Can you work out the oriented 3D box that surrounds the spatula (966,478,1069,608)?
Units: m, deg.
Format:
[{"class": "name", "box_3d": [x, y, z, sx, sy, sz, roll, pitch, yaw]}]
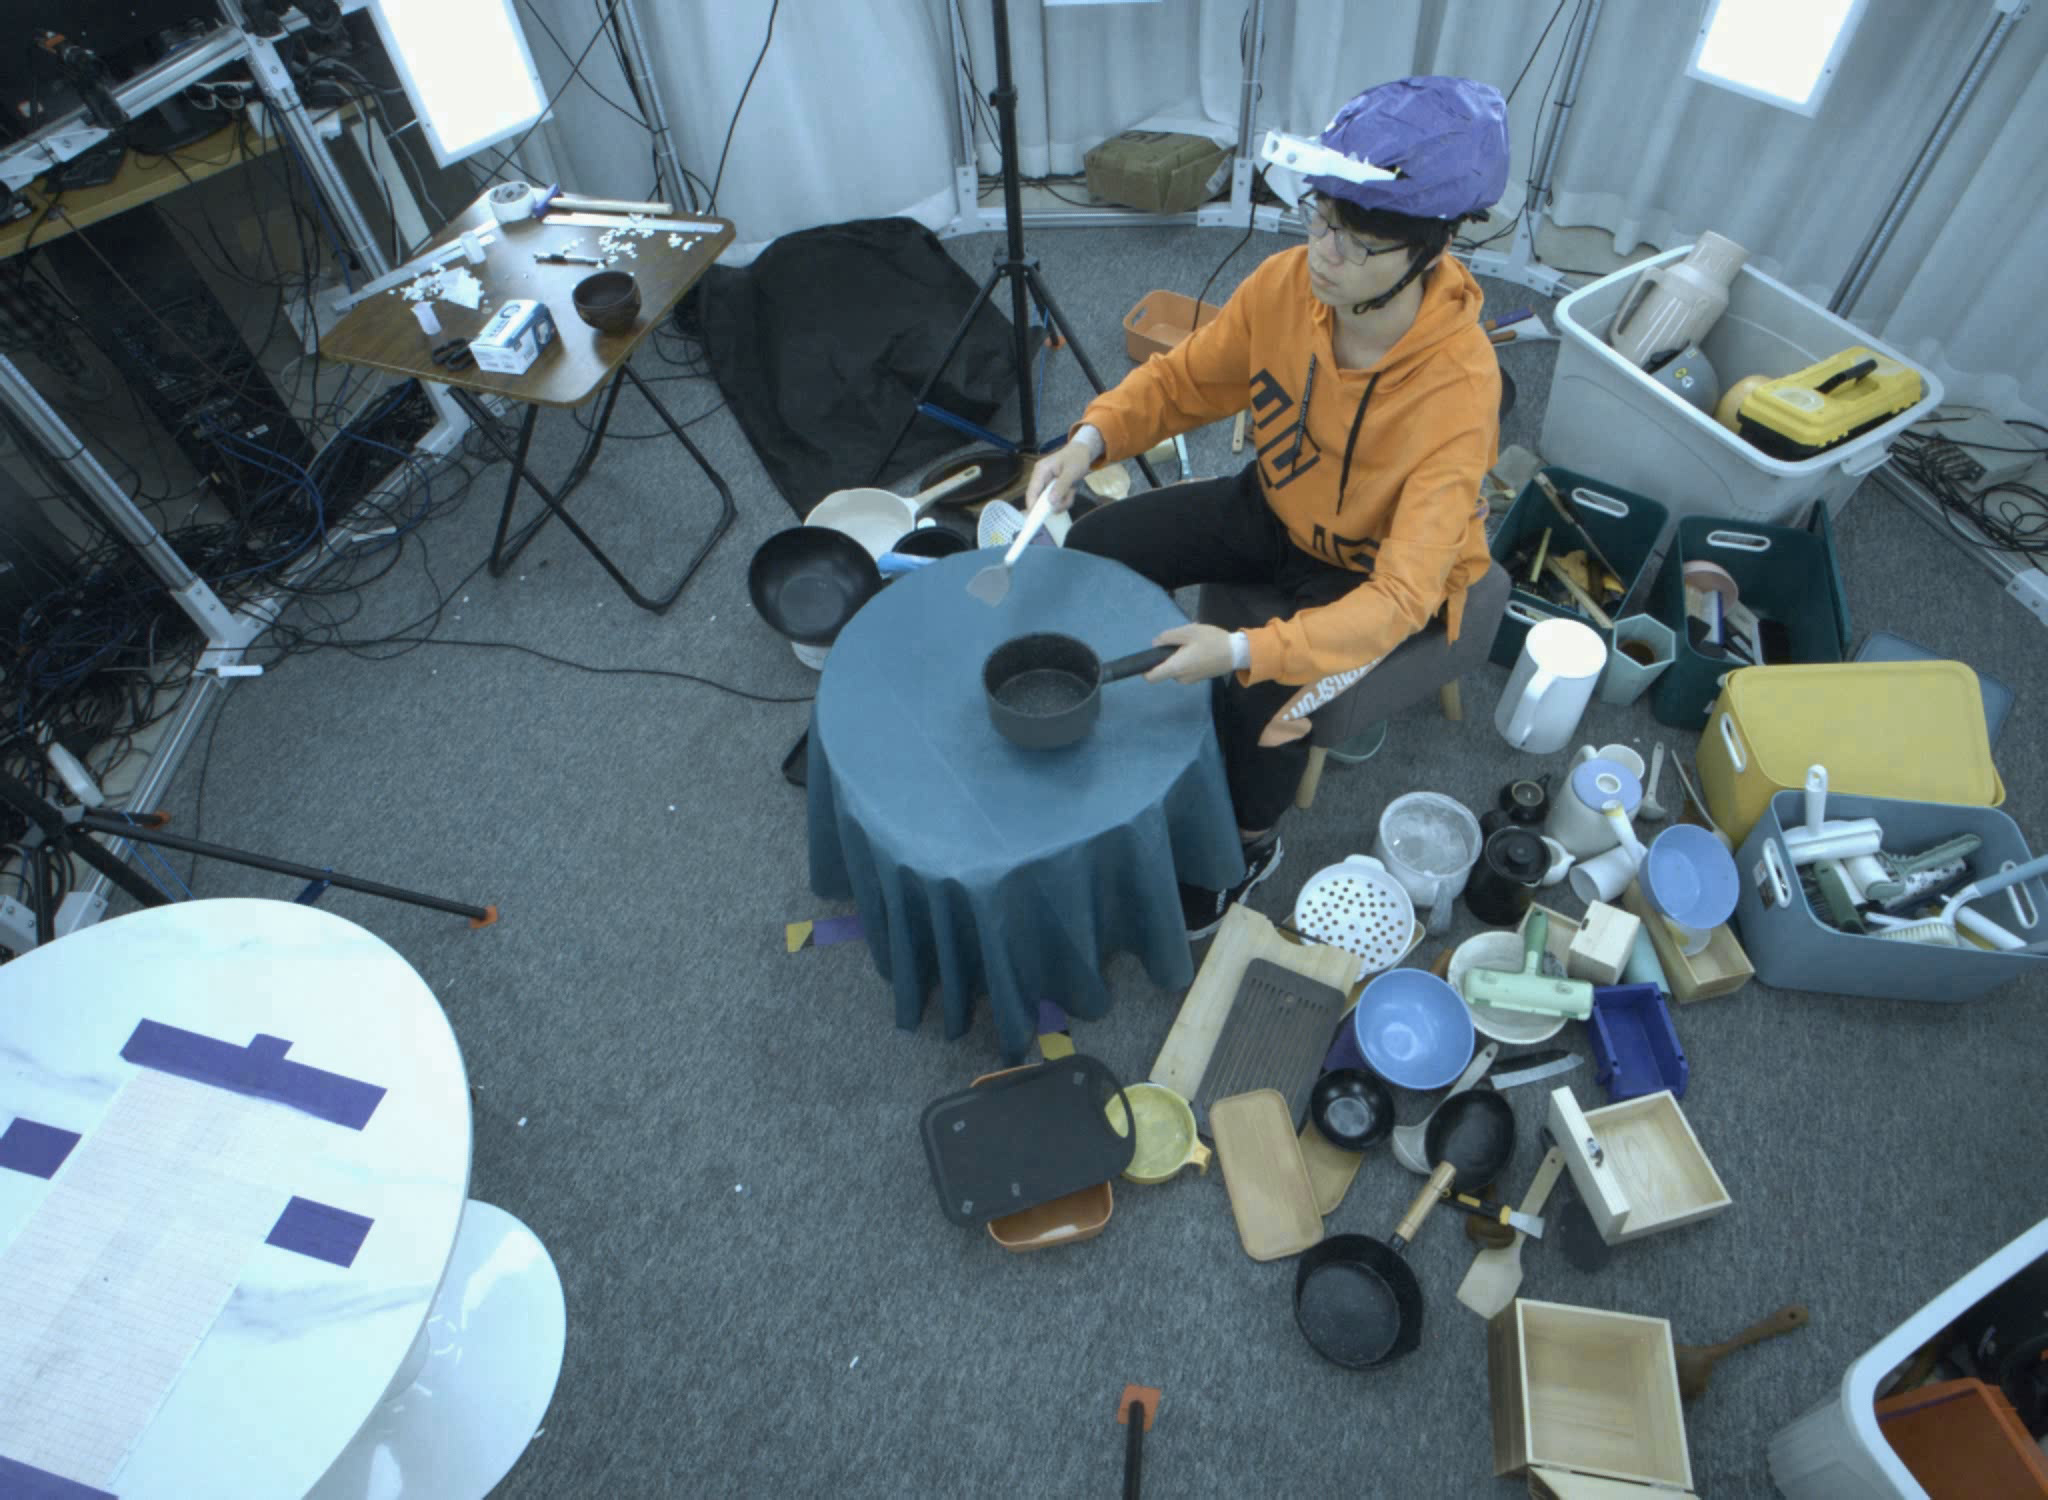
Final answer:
[{"class": "spatula", "box_3d": [-0.003, -0.302, 1.785, 0.059, 0.032, 0.288, 30, 54, -2]}]

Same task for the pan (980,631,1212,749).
[{"class": "pan", "box_3d": [0.105, -0.098, 1.755, 0.330, 0.087, 0.169, -9, 50, -4]}]
